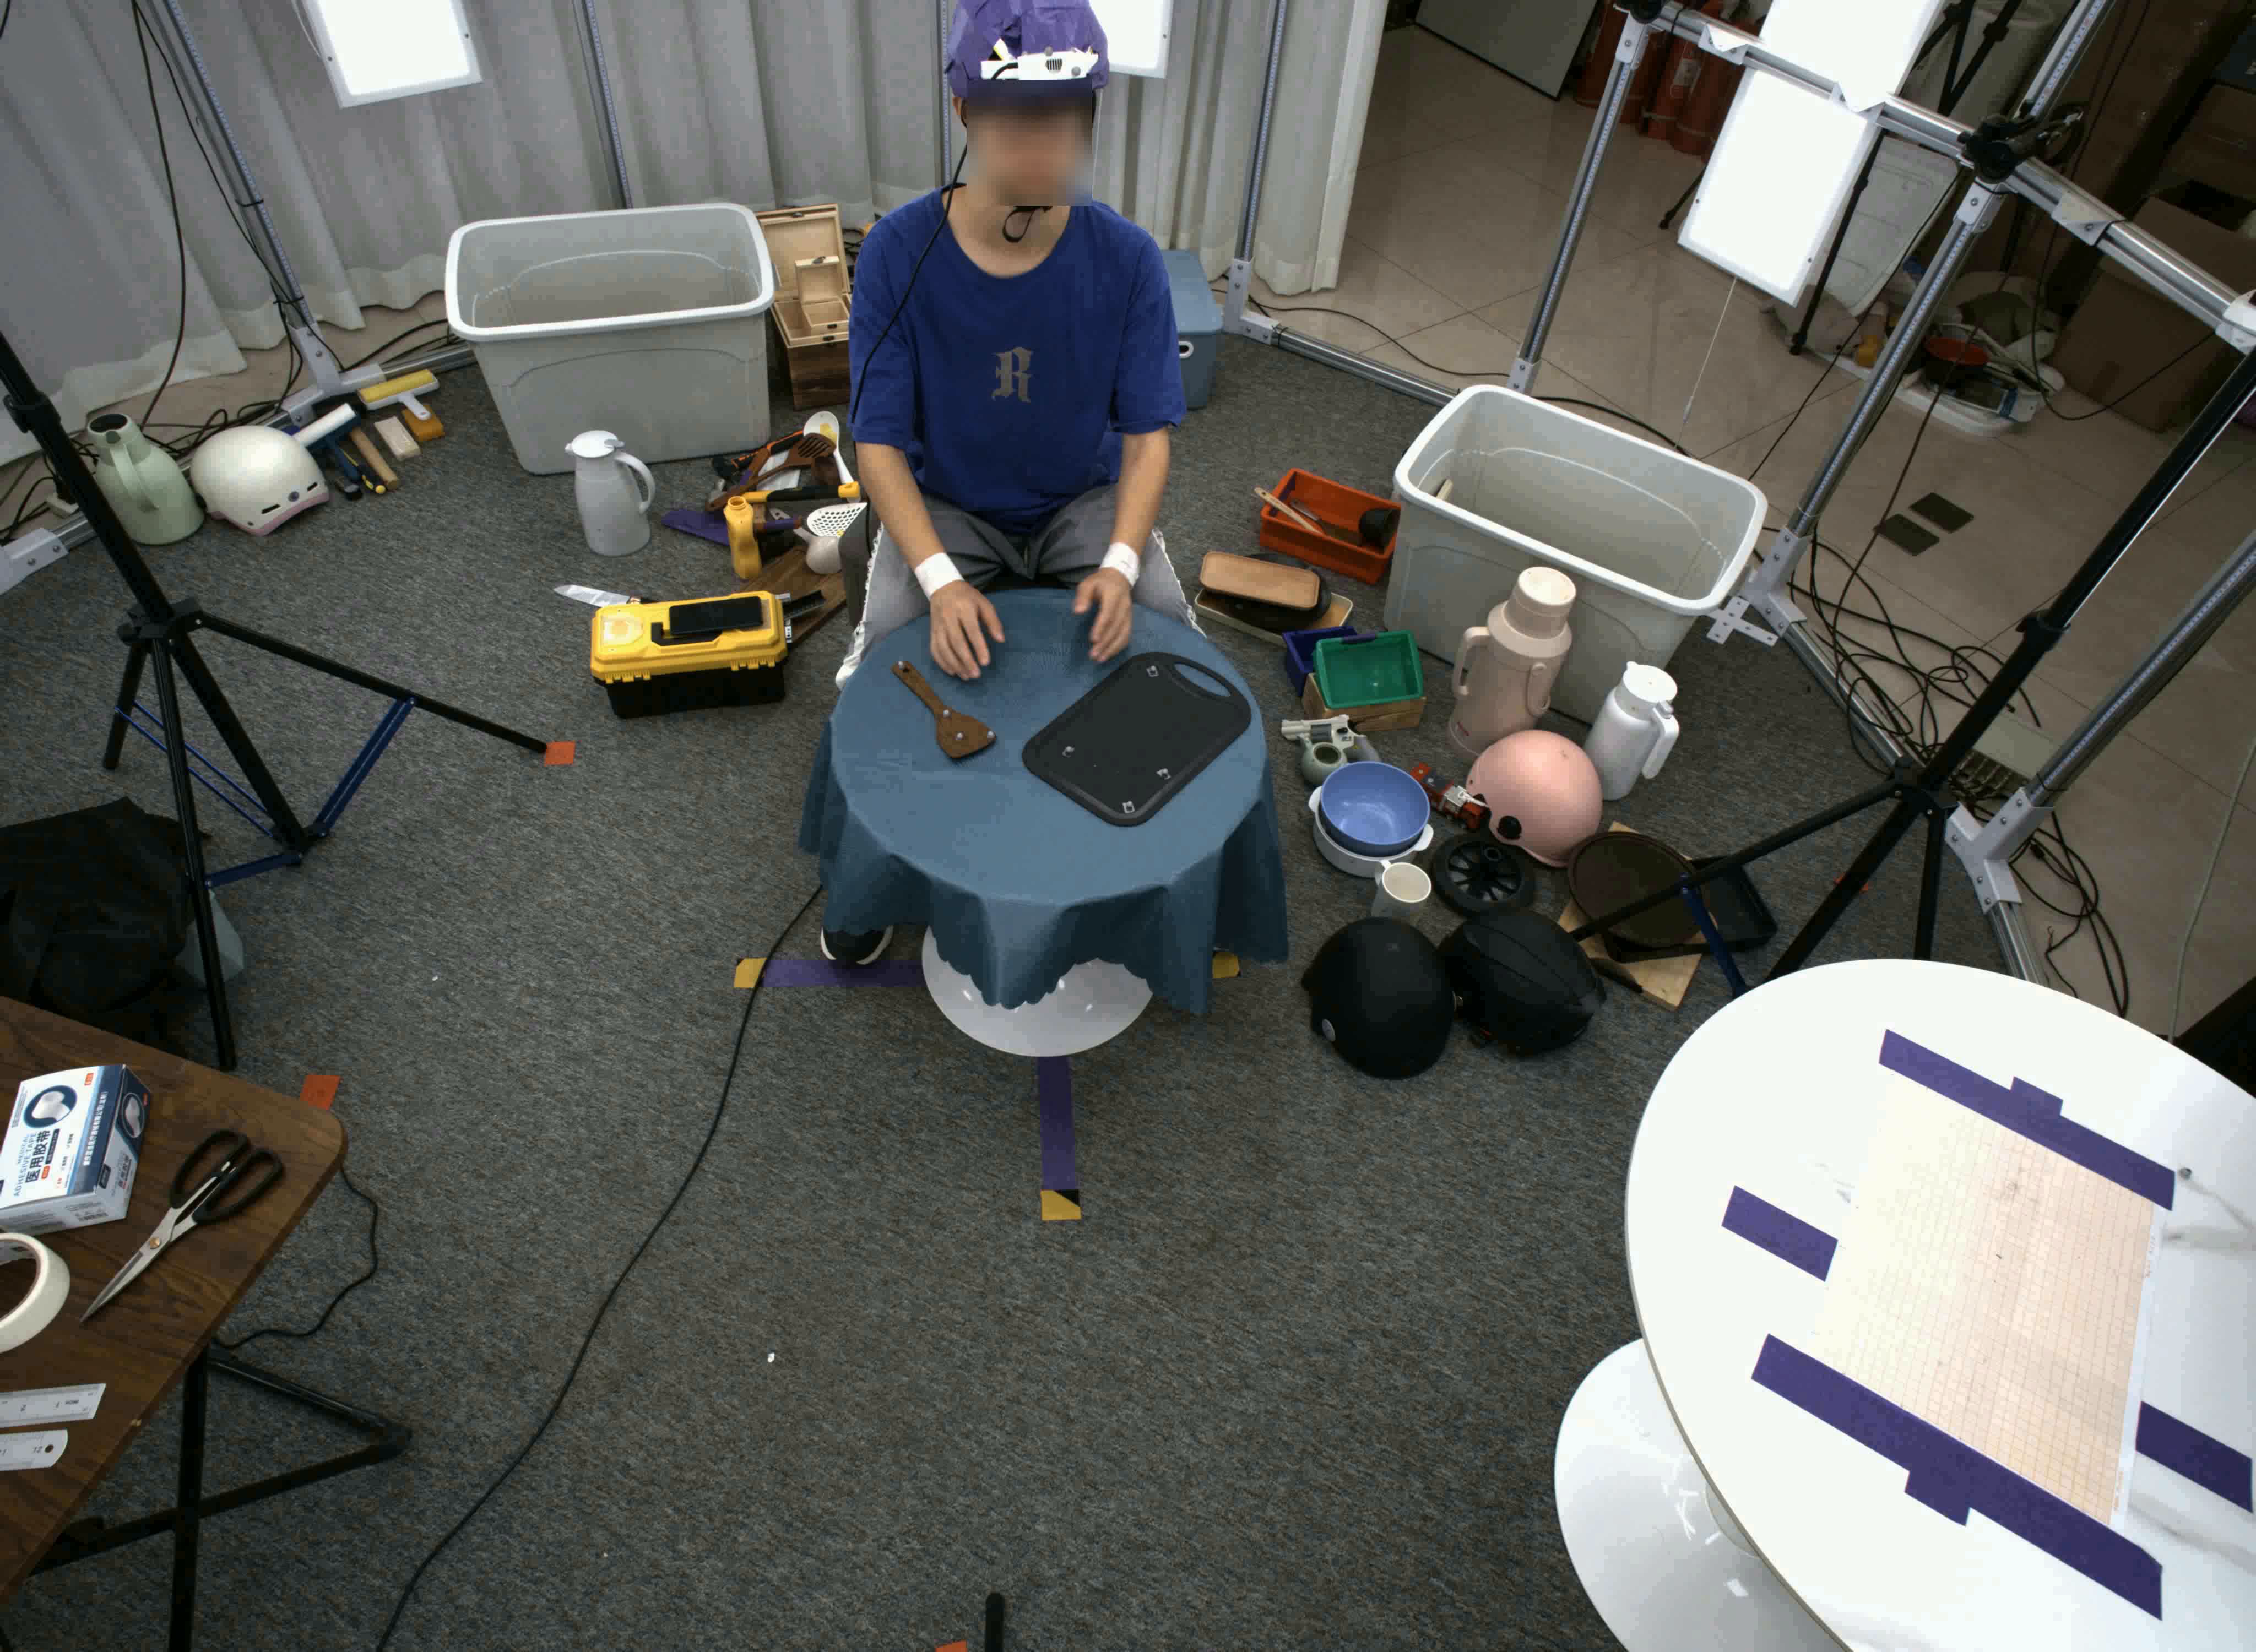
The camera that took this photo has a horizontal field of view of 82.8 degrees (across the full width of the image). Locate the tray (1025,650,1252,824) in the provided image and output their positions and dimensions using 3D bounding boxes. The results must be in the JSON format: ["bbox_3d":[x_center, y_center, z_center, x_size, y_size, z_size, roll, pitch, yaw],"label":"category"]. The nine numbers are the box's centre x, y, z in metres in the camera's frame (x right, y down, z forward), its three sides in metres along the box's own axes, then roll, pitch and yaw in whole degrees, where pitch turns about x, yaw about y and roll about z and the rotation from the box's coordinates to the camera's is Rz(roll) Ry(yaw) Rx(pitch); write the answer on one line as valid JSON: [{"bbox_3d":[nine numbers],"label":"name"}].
[{"bbox_3d":[0.023,-0.138,1.789,0.214,0.009,0.329,33,55,23],"label":"tray"}]

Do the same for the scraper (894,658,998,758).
[{"bbox_3d":[-0.264,-0.169,1.796,0.076,0.010,0.215,-27,56,-24],"label":"scraper"}]
